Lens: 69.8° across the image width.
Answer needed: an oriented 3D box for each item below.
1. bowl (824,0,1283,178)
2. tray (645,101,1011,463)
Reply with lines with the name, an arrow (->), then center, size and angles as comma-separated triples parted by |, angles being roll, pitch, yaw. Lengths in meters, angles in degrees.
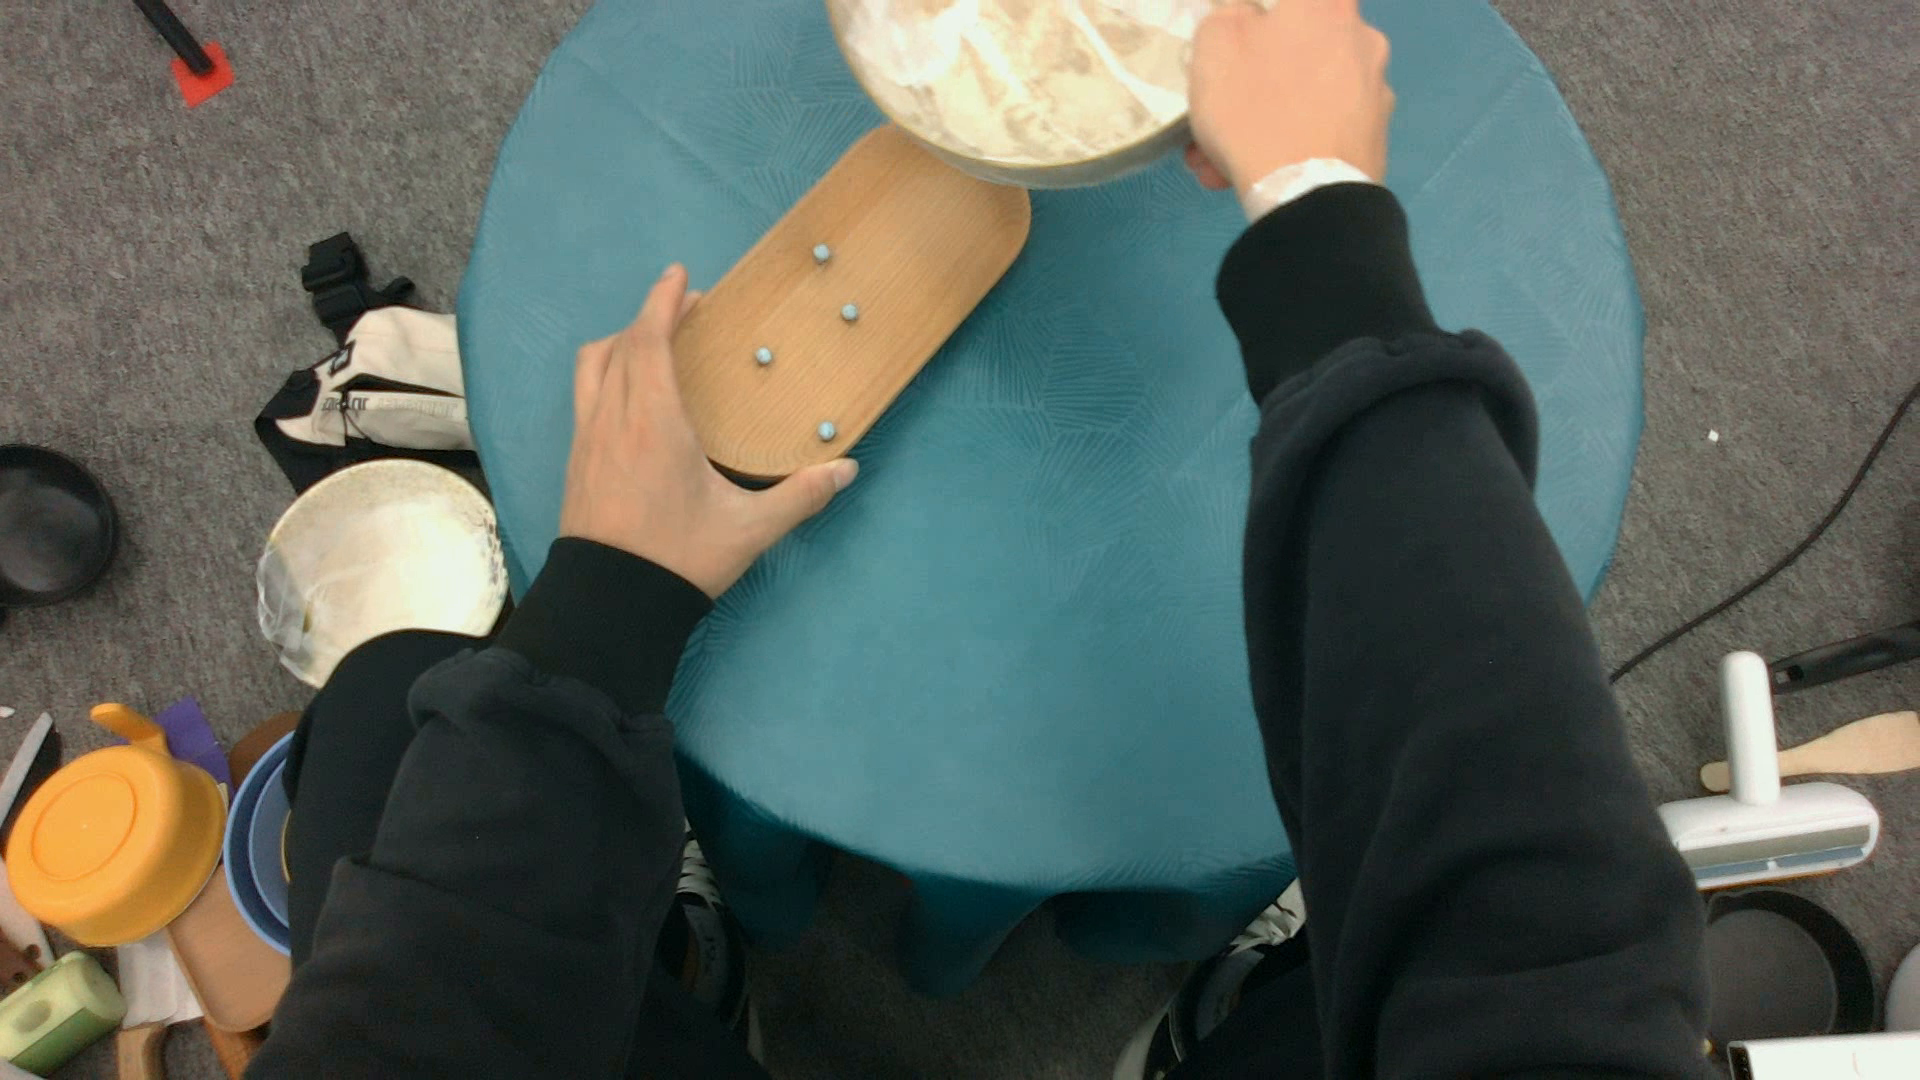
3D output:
bowl -> 0.045, -0.245, 0.609 | 0.214, 0.094, 0.215 | -2, 82, 14
tray -> -0.061, -0.131, 0.675 | 0.101, 0.020, 0.232 | 36, 65, 2
